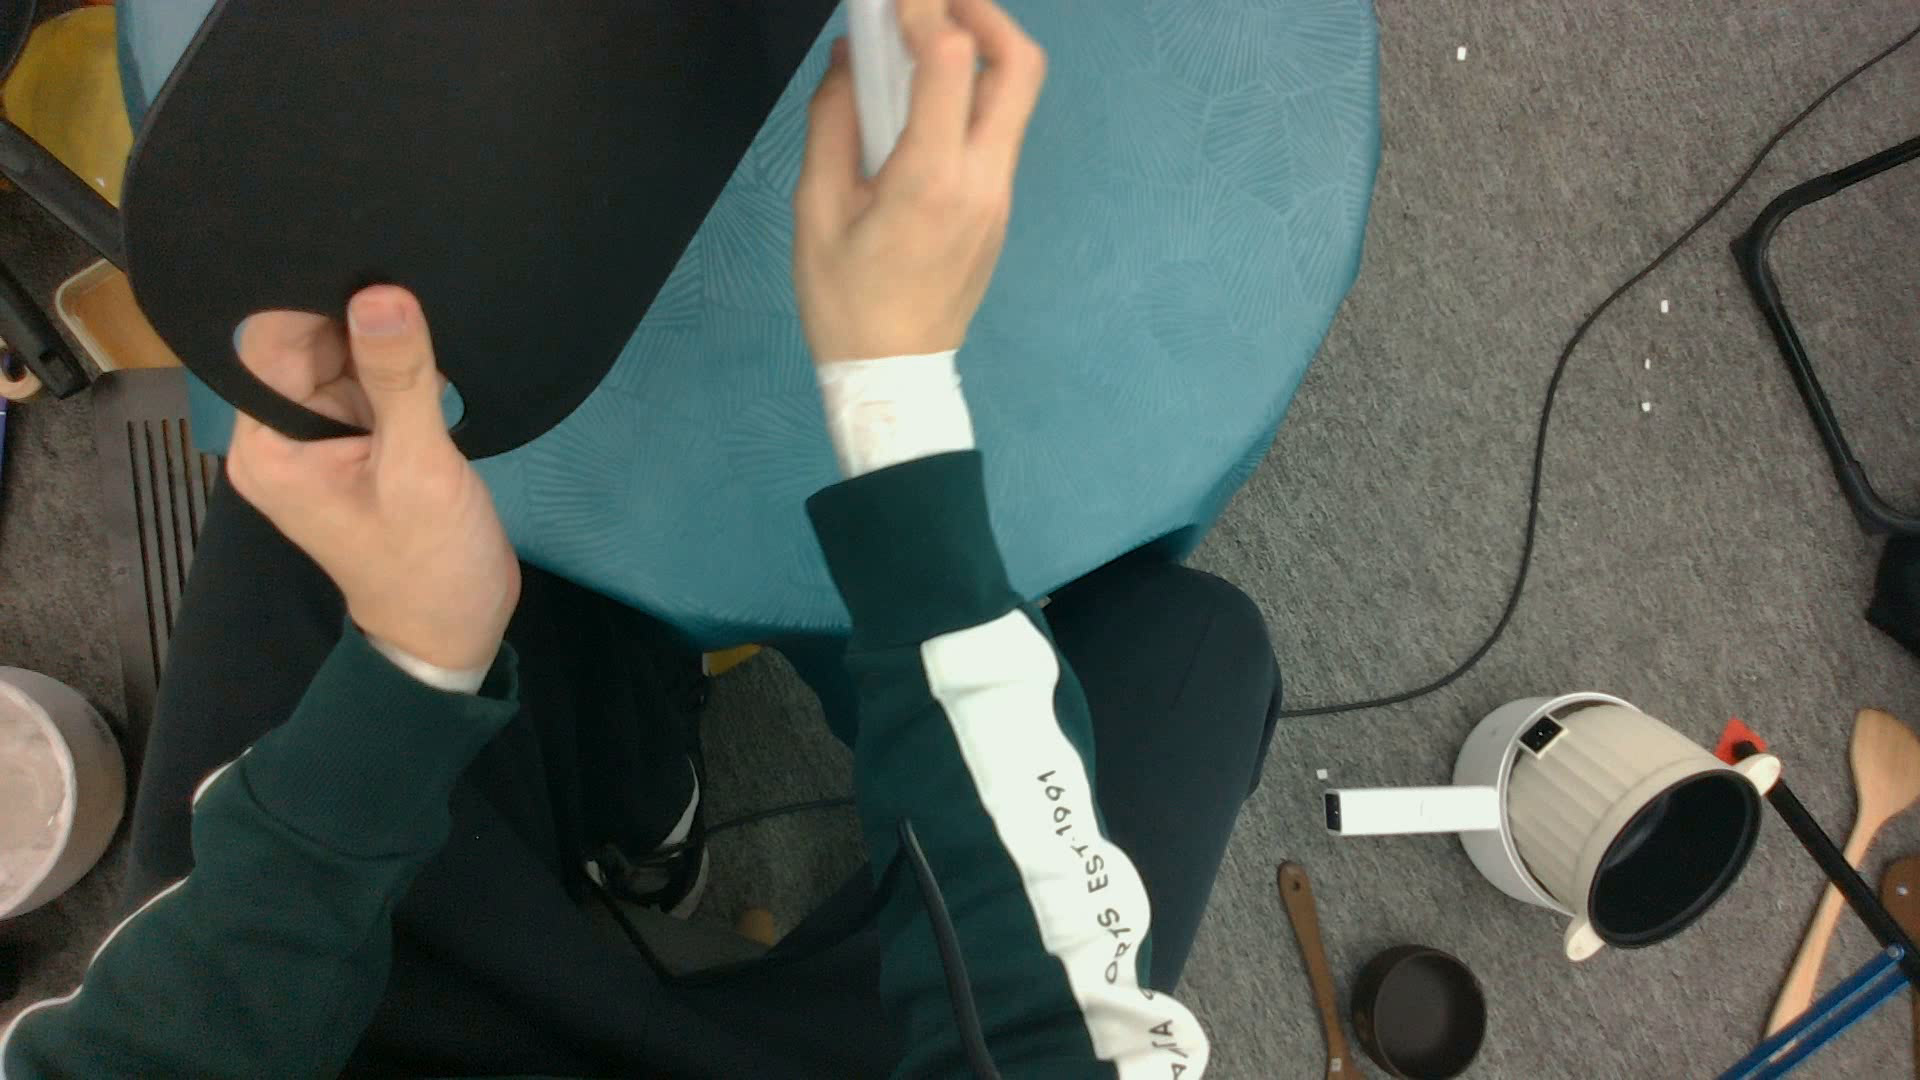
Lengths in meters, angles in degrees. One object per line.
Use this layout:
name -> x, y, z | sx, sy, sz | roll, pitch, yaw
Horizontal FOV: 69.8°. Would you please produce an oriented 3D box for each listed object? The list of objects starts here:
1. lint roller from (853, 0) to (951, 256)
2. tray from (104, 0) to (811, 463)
lint roller -> -0.021, -0.191, 0.483 | 0.074, 0.191, 0.194 | 34, 49, 18
tray -> -0.122, -0.169, 0.433 | 0.010, 0.211, 0.325 | 31, 90, 19
